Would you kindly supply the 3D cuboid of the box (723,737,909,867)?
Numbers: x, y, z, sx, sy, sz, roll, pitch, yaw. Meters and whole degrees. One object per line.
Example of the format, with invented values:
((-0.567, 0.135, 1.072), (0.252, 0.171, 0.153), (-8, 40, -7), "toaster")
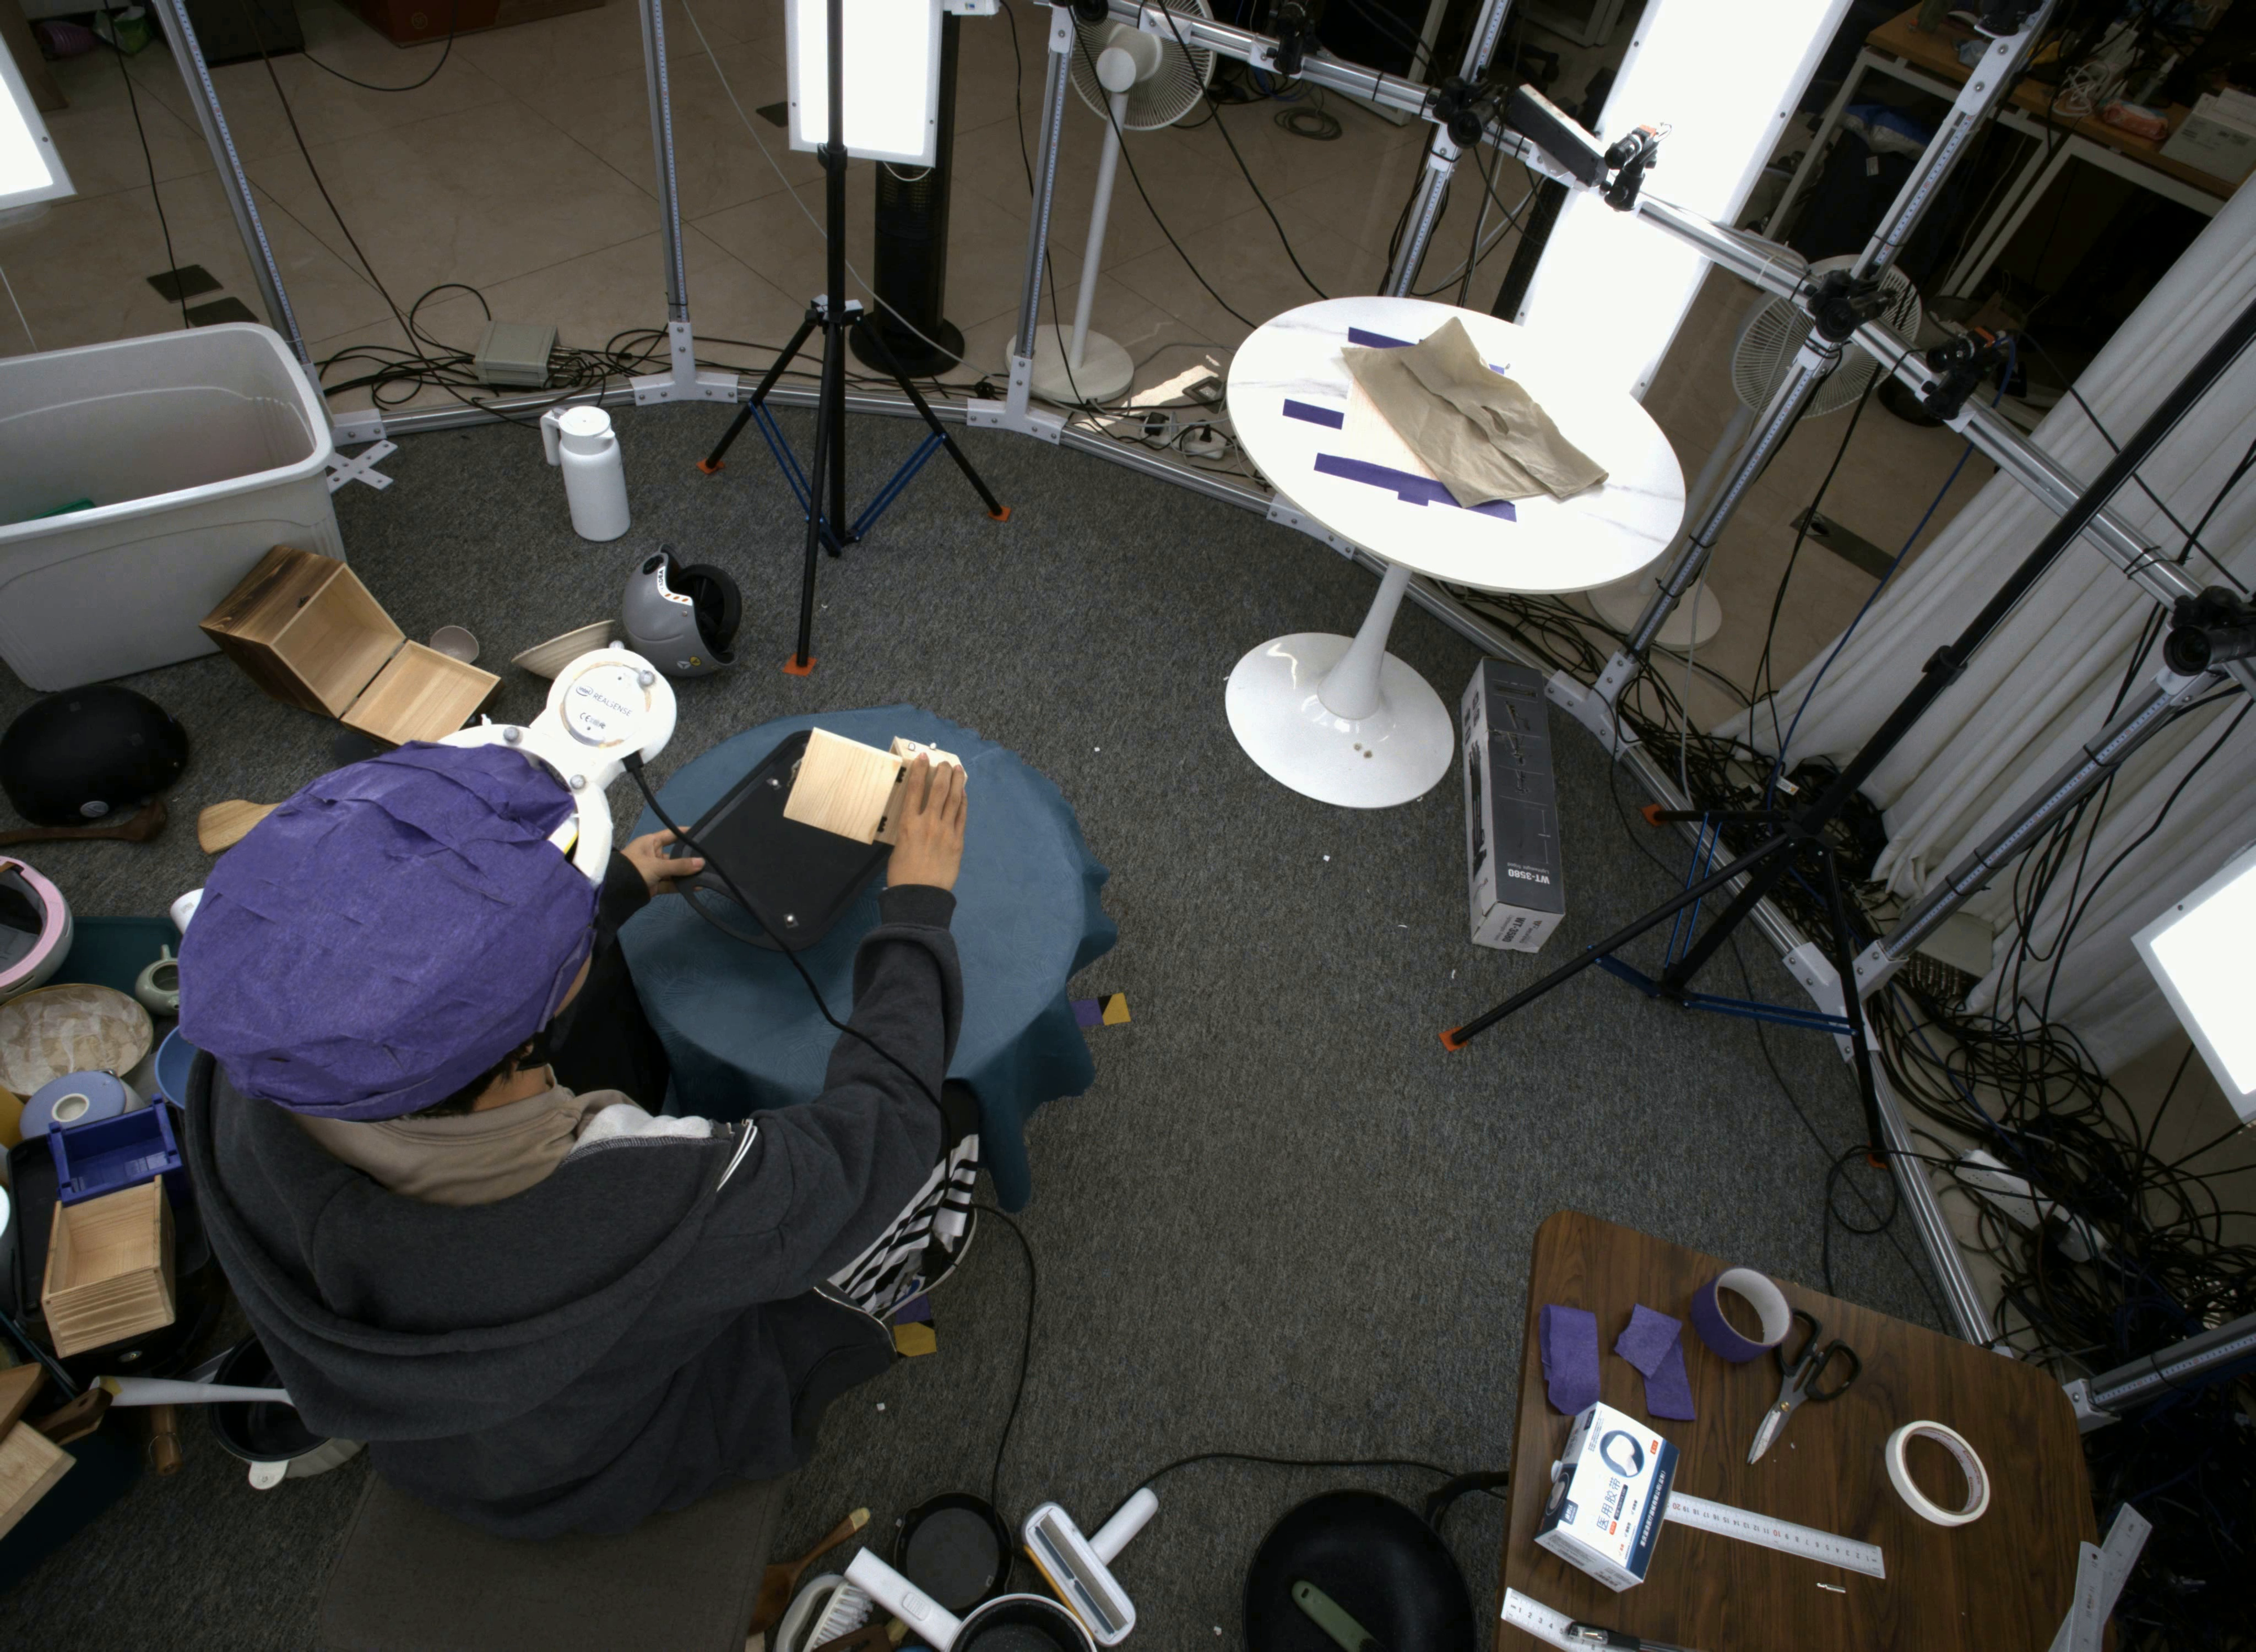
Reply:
((-0.350, -0.036, 1.442), (0.188, 0.104, 0.130), (16, 12, -25), "box")

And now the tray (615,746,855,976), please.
((-0.467, 0.037, 1.569), (0.211, 0.010, 0.323), (34, 47, -3), "tray")
